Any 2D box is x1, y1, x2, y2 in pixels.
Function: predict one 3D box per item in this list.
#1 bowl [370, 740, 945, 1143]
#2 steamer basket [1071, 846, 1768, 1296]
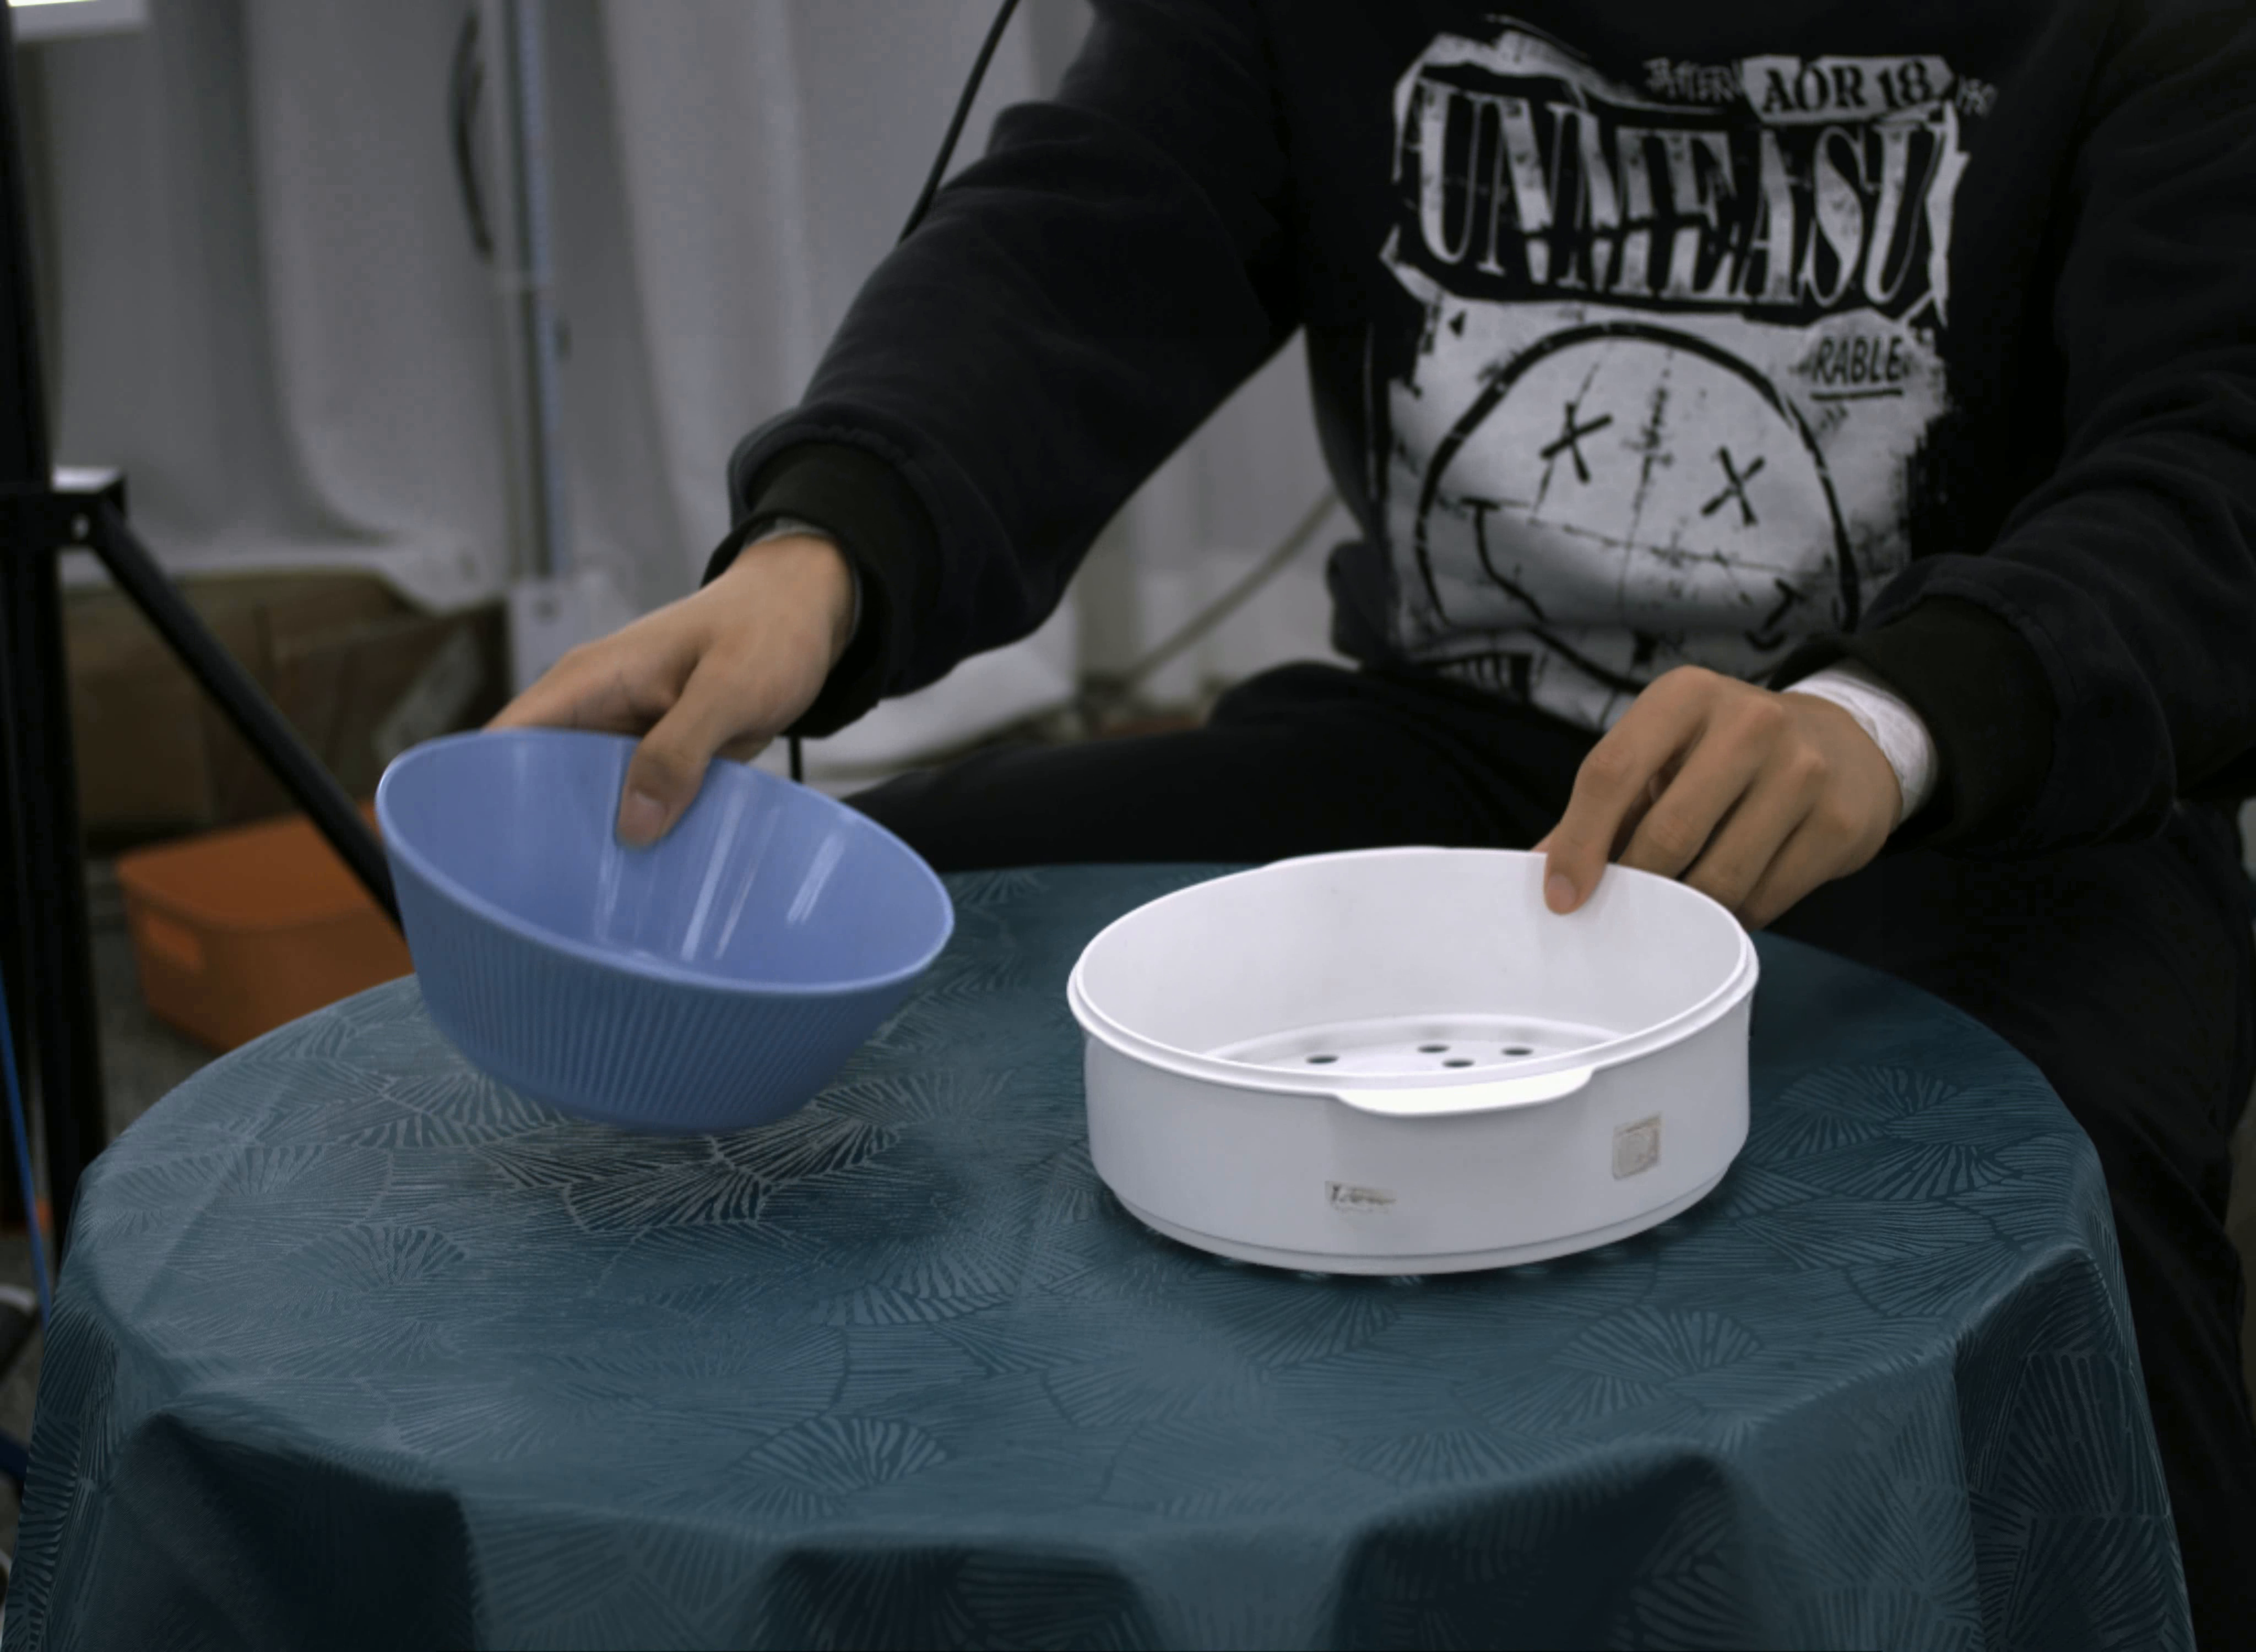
[{"bbox_3d":[-0.147,0.040,1.599,0.174,0.070,0.177,12,21,-6],"label":"bowl"},{"bbox_3d":[0.085,0.071,1.541,0.200,0.069,0.233,-5,20,-4],"label":"steamer basket"}]
